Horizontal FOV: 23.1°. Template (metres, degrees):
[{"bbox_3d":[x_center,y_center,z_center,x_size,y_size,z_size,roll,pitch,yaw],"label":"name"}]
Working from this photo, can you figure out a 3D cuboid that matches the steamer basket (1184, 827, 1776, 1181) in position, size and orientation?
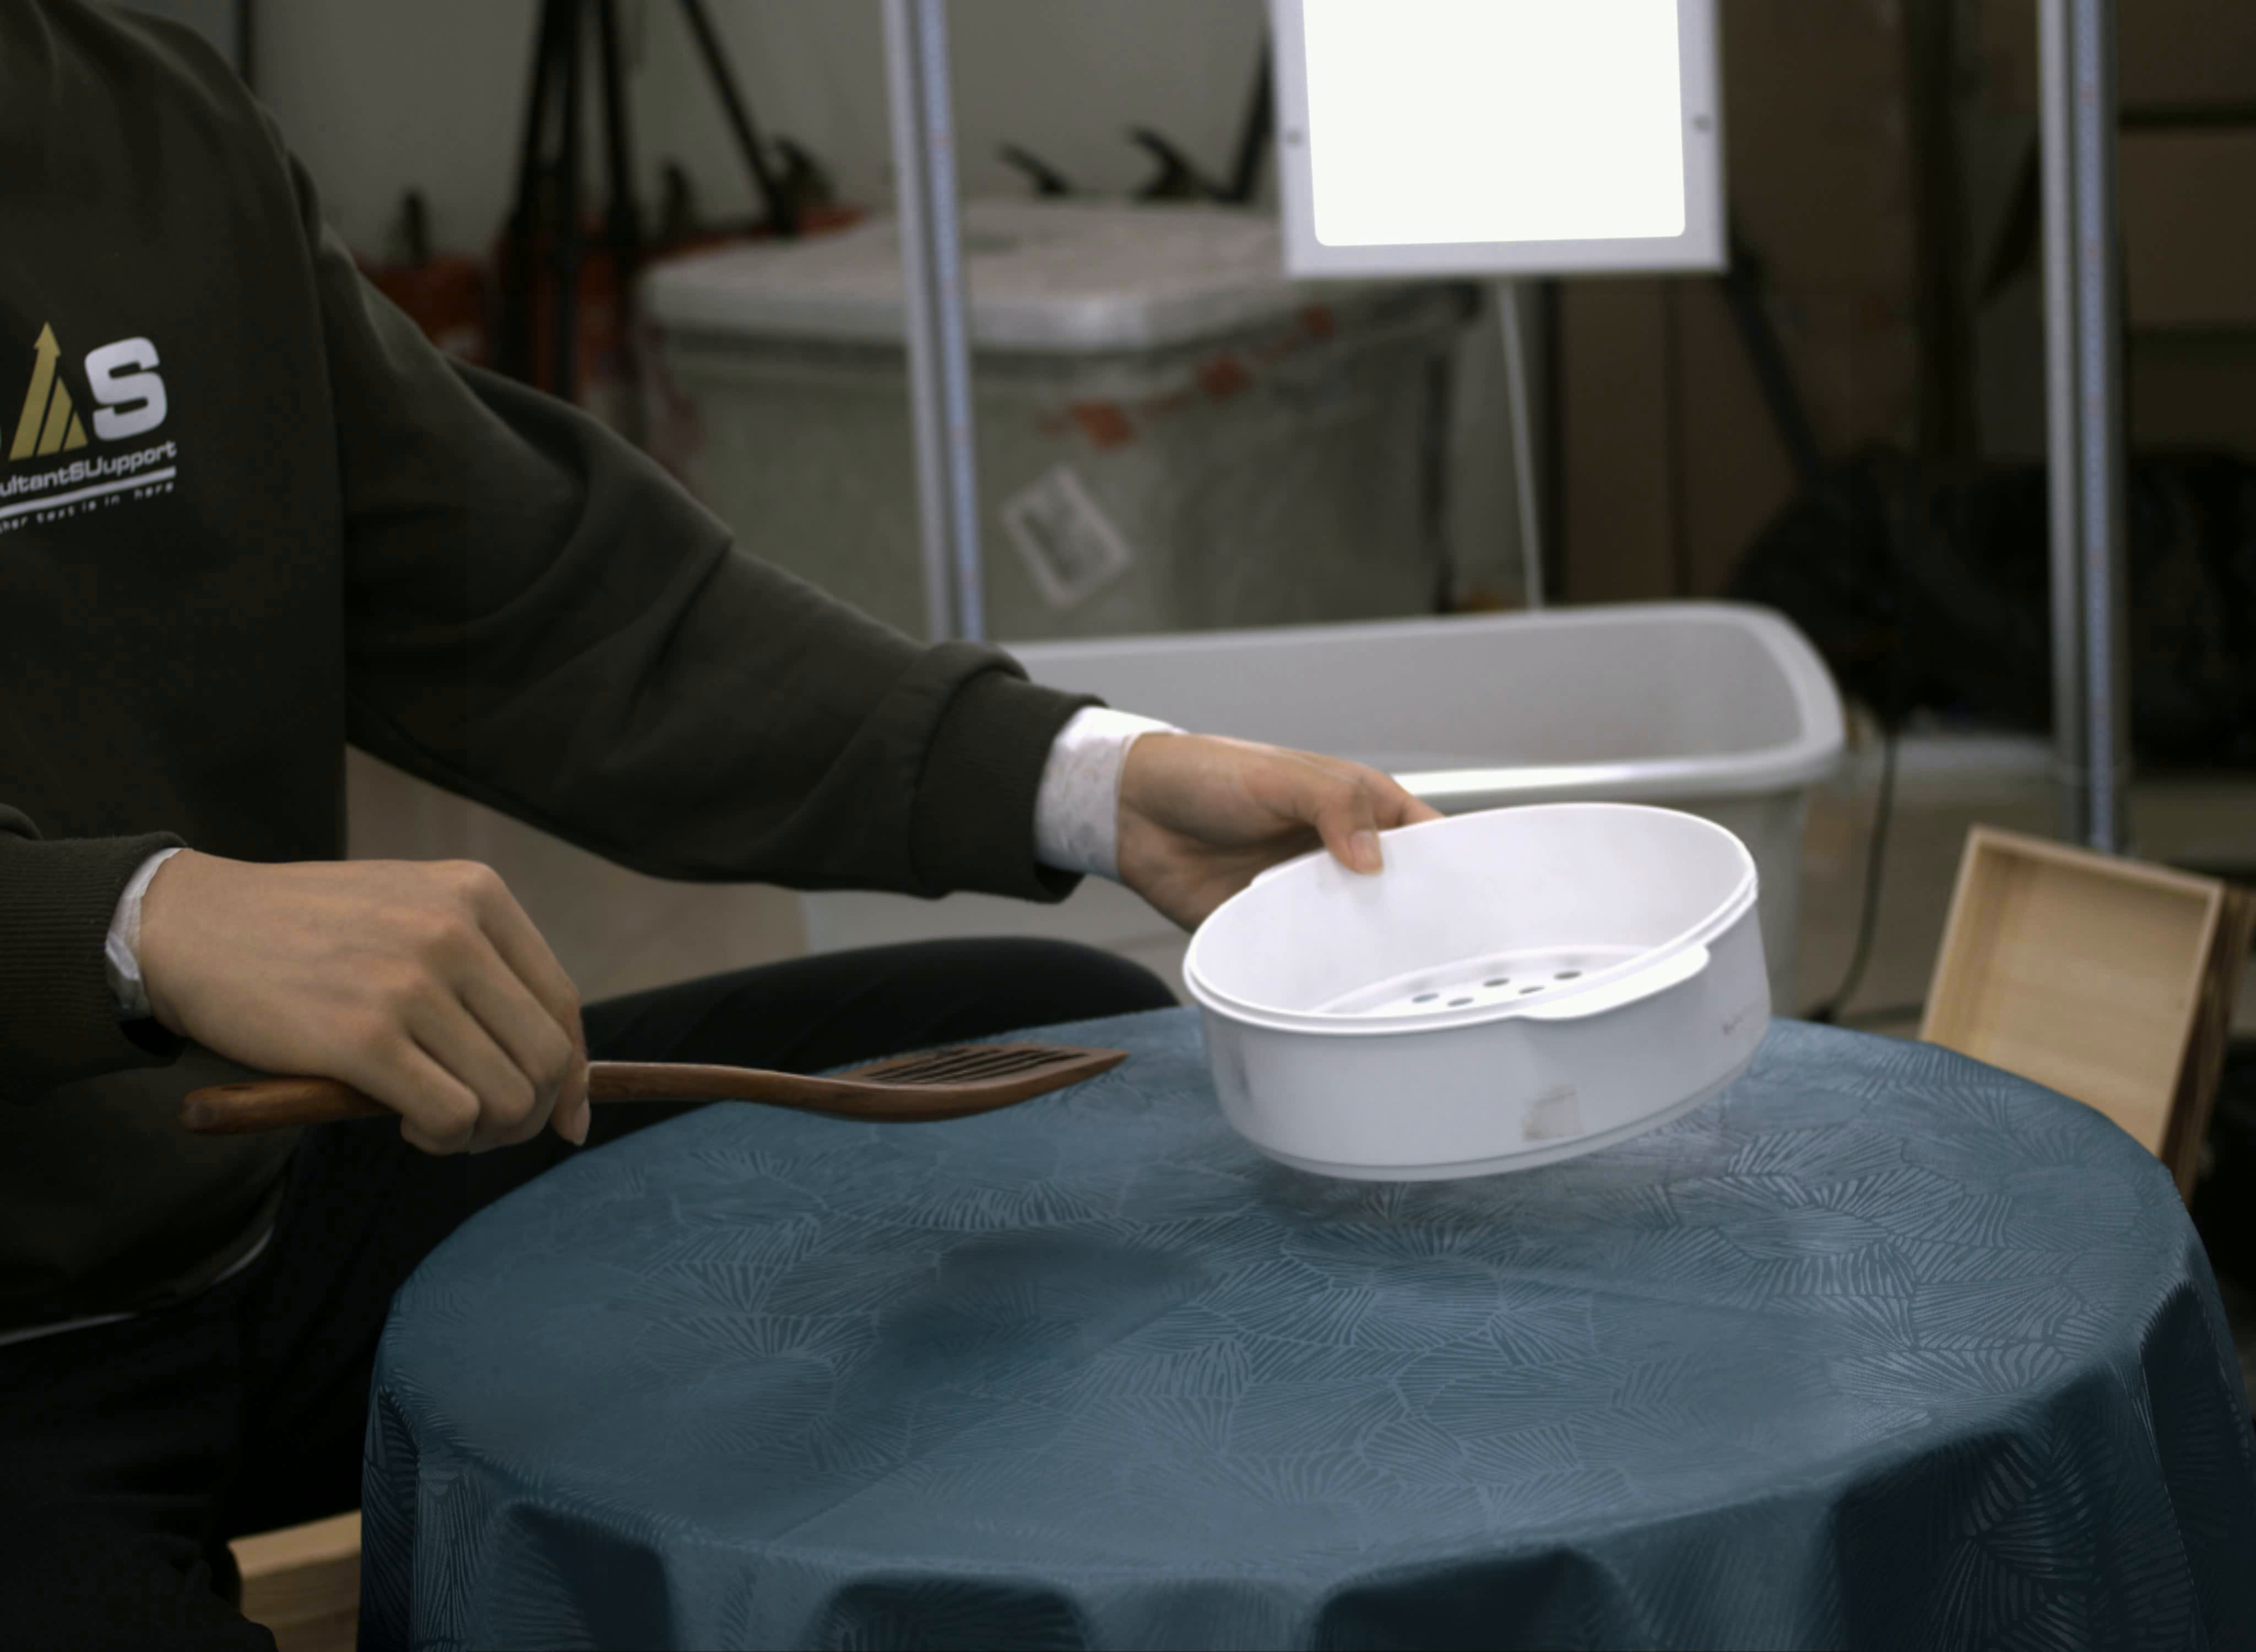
[{"bbox_3d":[0.123,0.061,1.880,0.198,0.069,0.234,-17,15,-20],"label":"steamer basket"}]

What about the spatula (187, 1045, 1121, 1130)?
[{"bbox_3d":[-0.146,0.083,1.724,0.088,0.024,0.376,0,-1,39],"label":"spatula"}]
